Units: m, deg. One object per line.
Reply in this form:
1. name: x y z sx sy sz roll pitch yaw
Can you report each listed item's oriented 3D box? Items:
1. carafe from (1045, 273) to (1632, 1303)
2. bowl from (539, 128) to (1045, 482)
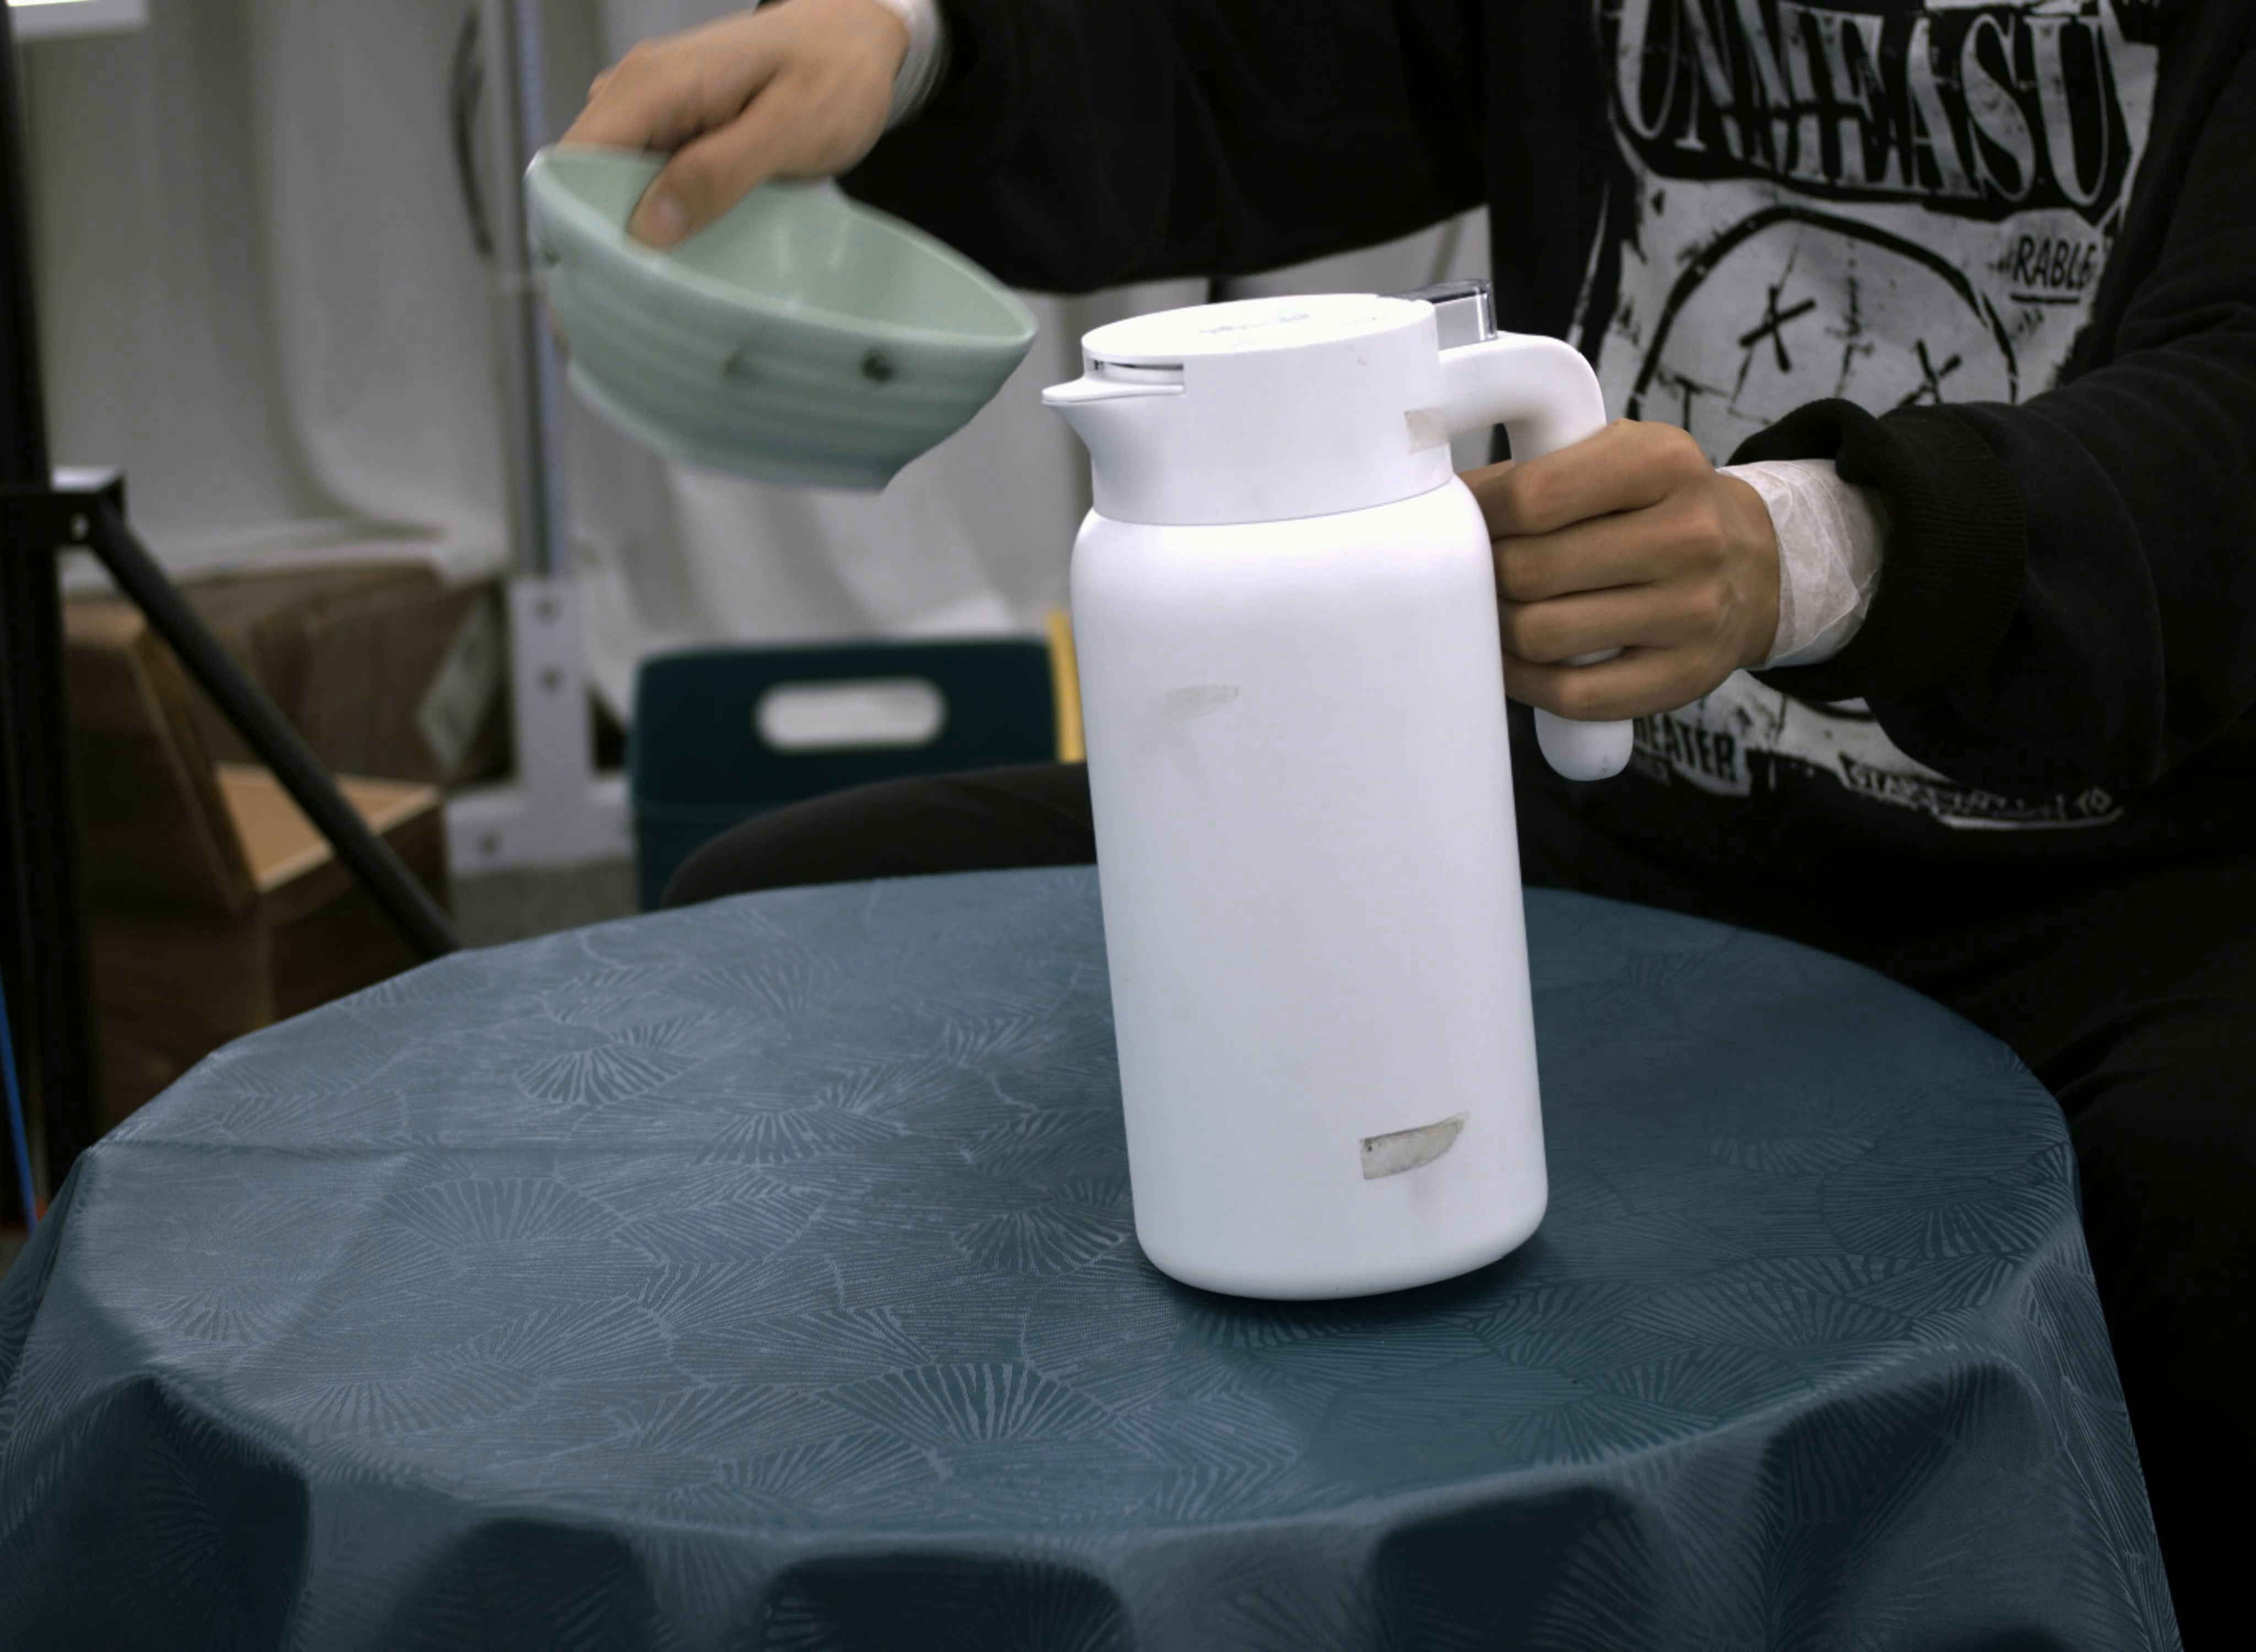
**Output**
1. carafe: 0.063 -0.014 1.475 0.169 0.269 0.126 -13 12 -29
2. bowl: -0.102 -0.141 1.501 0.150 0.059 0.152 18 18 -7
